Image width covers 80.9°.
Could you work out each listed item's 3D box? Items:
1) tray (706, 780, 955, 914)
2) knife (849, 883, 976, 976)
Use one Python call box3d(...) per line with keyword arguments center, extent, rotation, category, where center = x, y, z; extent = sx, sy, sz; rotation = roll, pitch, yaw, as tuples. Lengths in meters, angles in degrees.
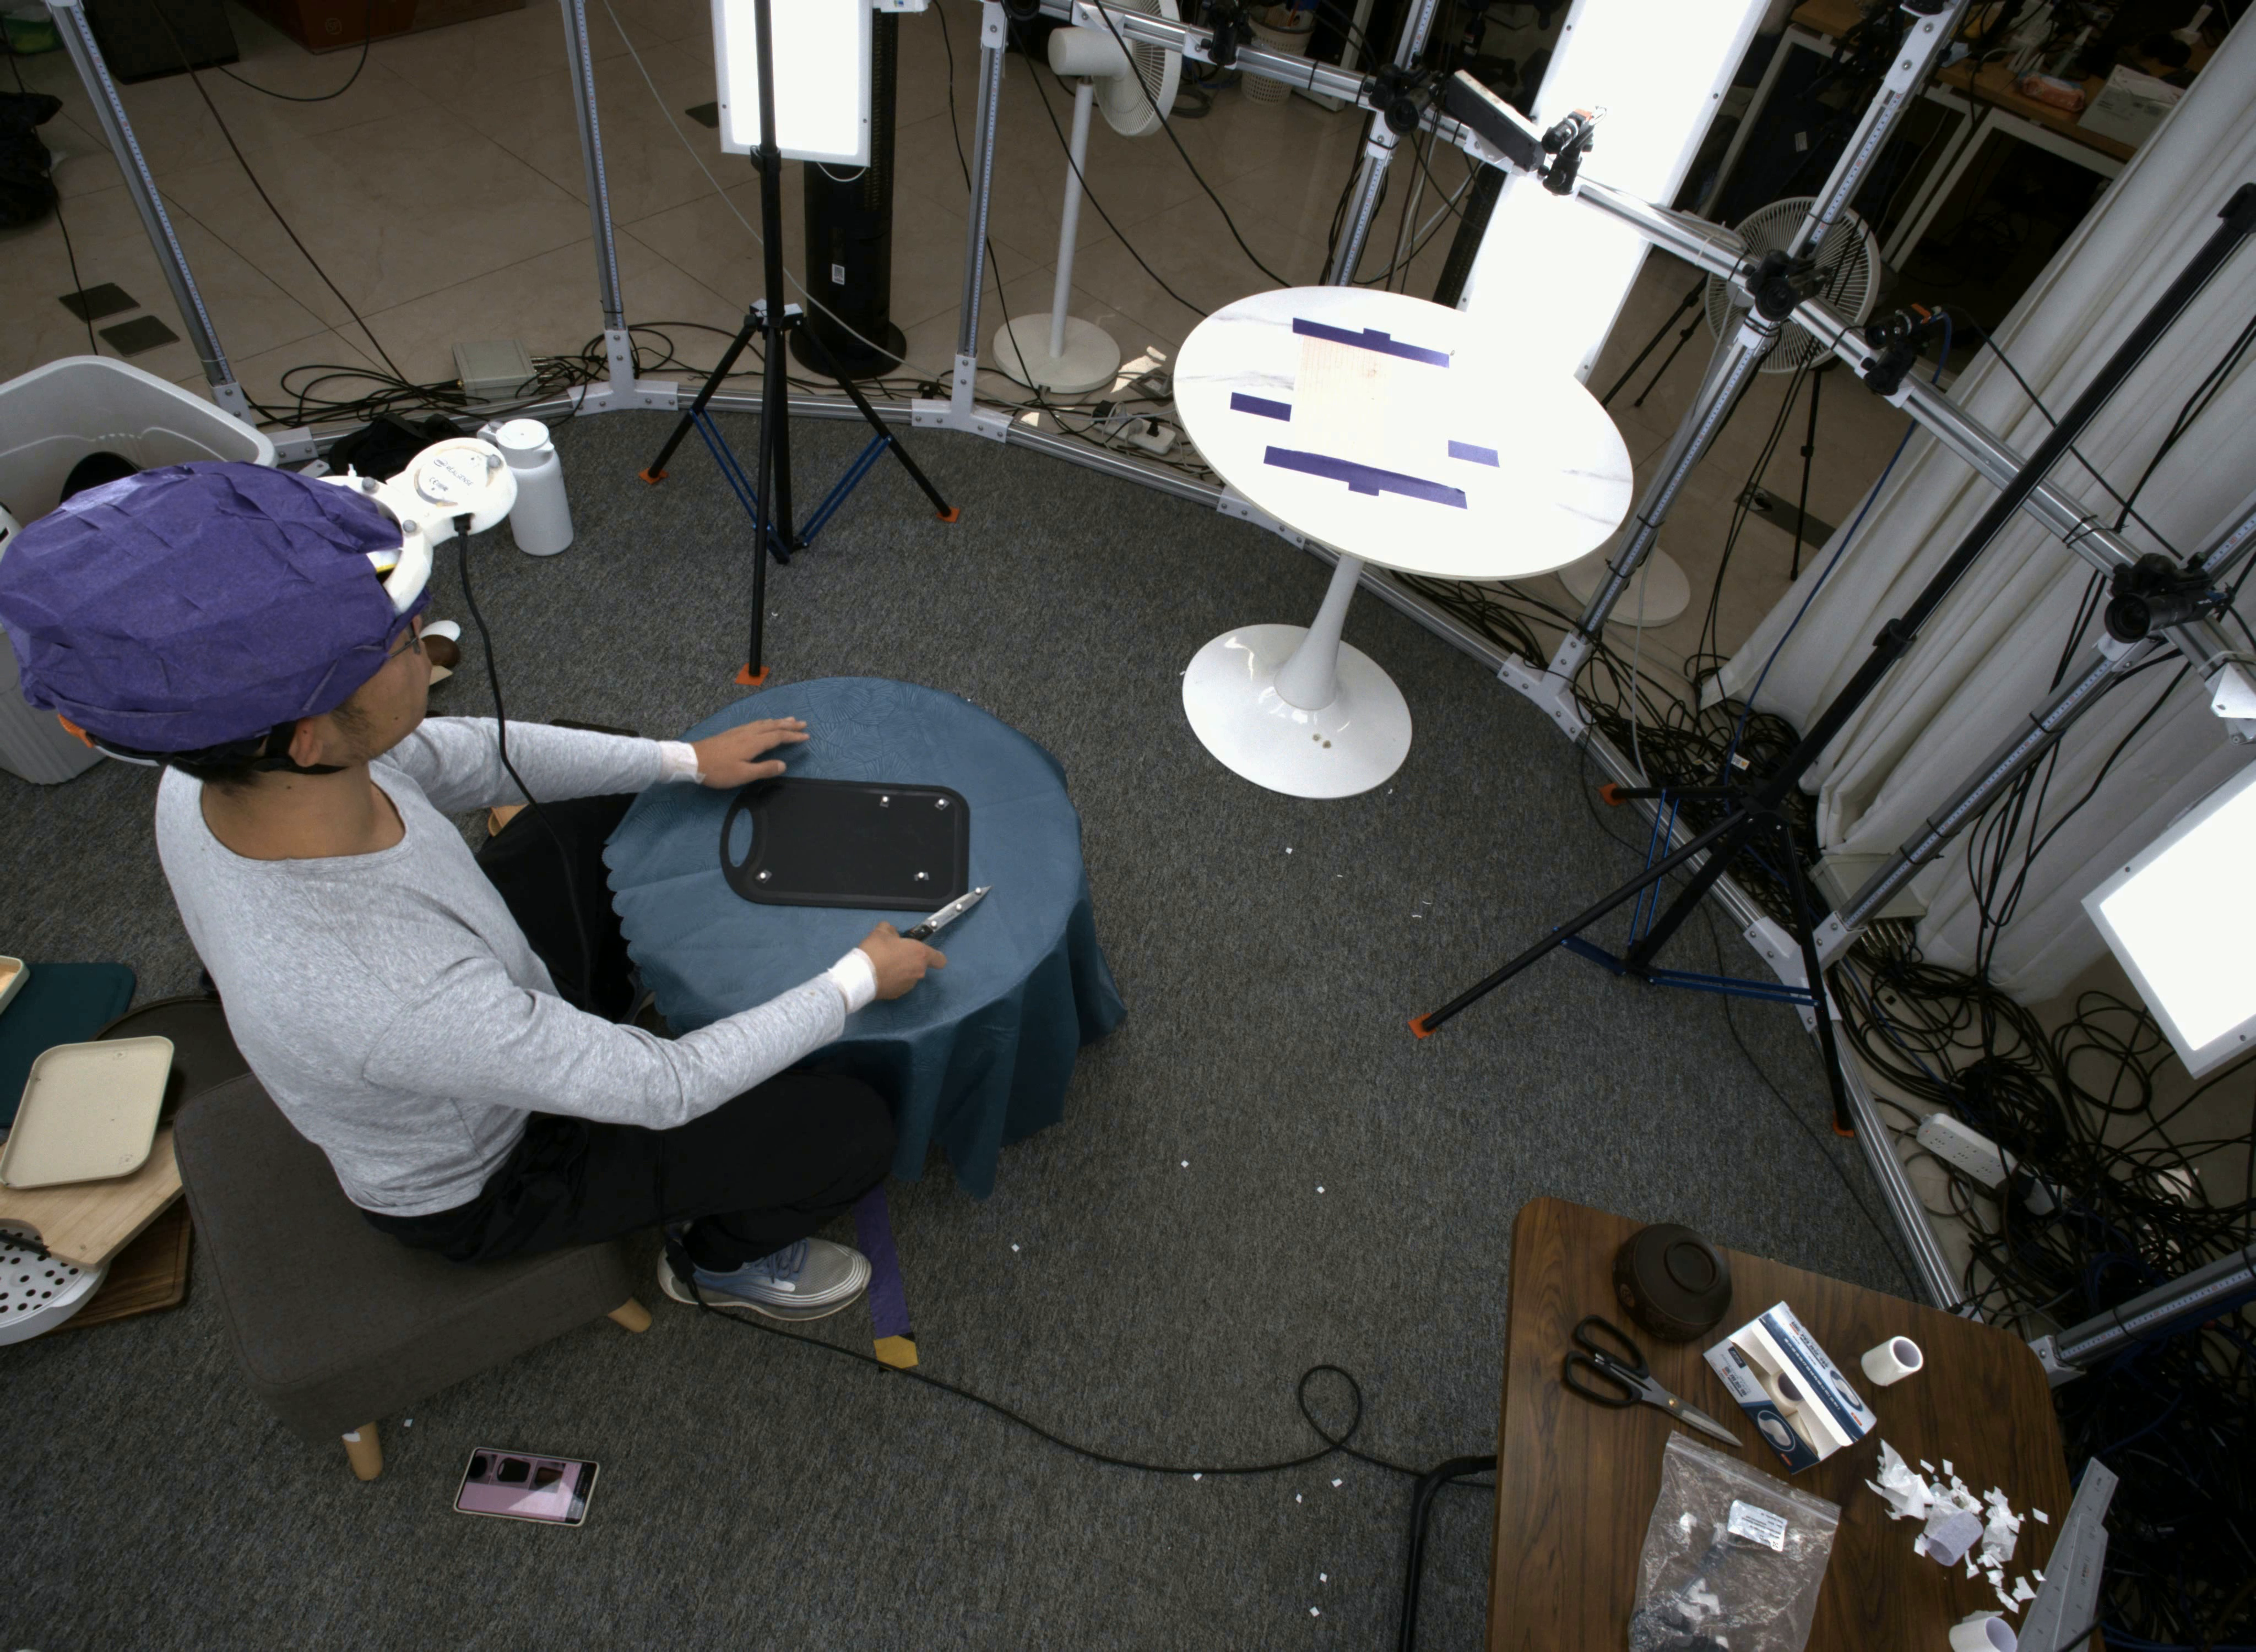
box3d(center=(-0.392, 0.023, 1.722), extent=(0.325, 0.010, 0.207), rotation=(3, 53, -12), category="tray")
box3d(center=(-0.265, 0.126, 1.648), extent=(0.024, 0.016, 0.239), rotation=(35, 40, 15), category="knife")
